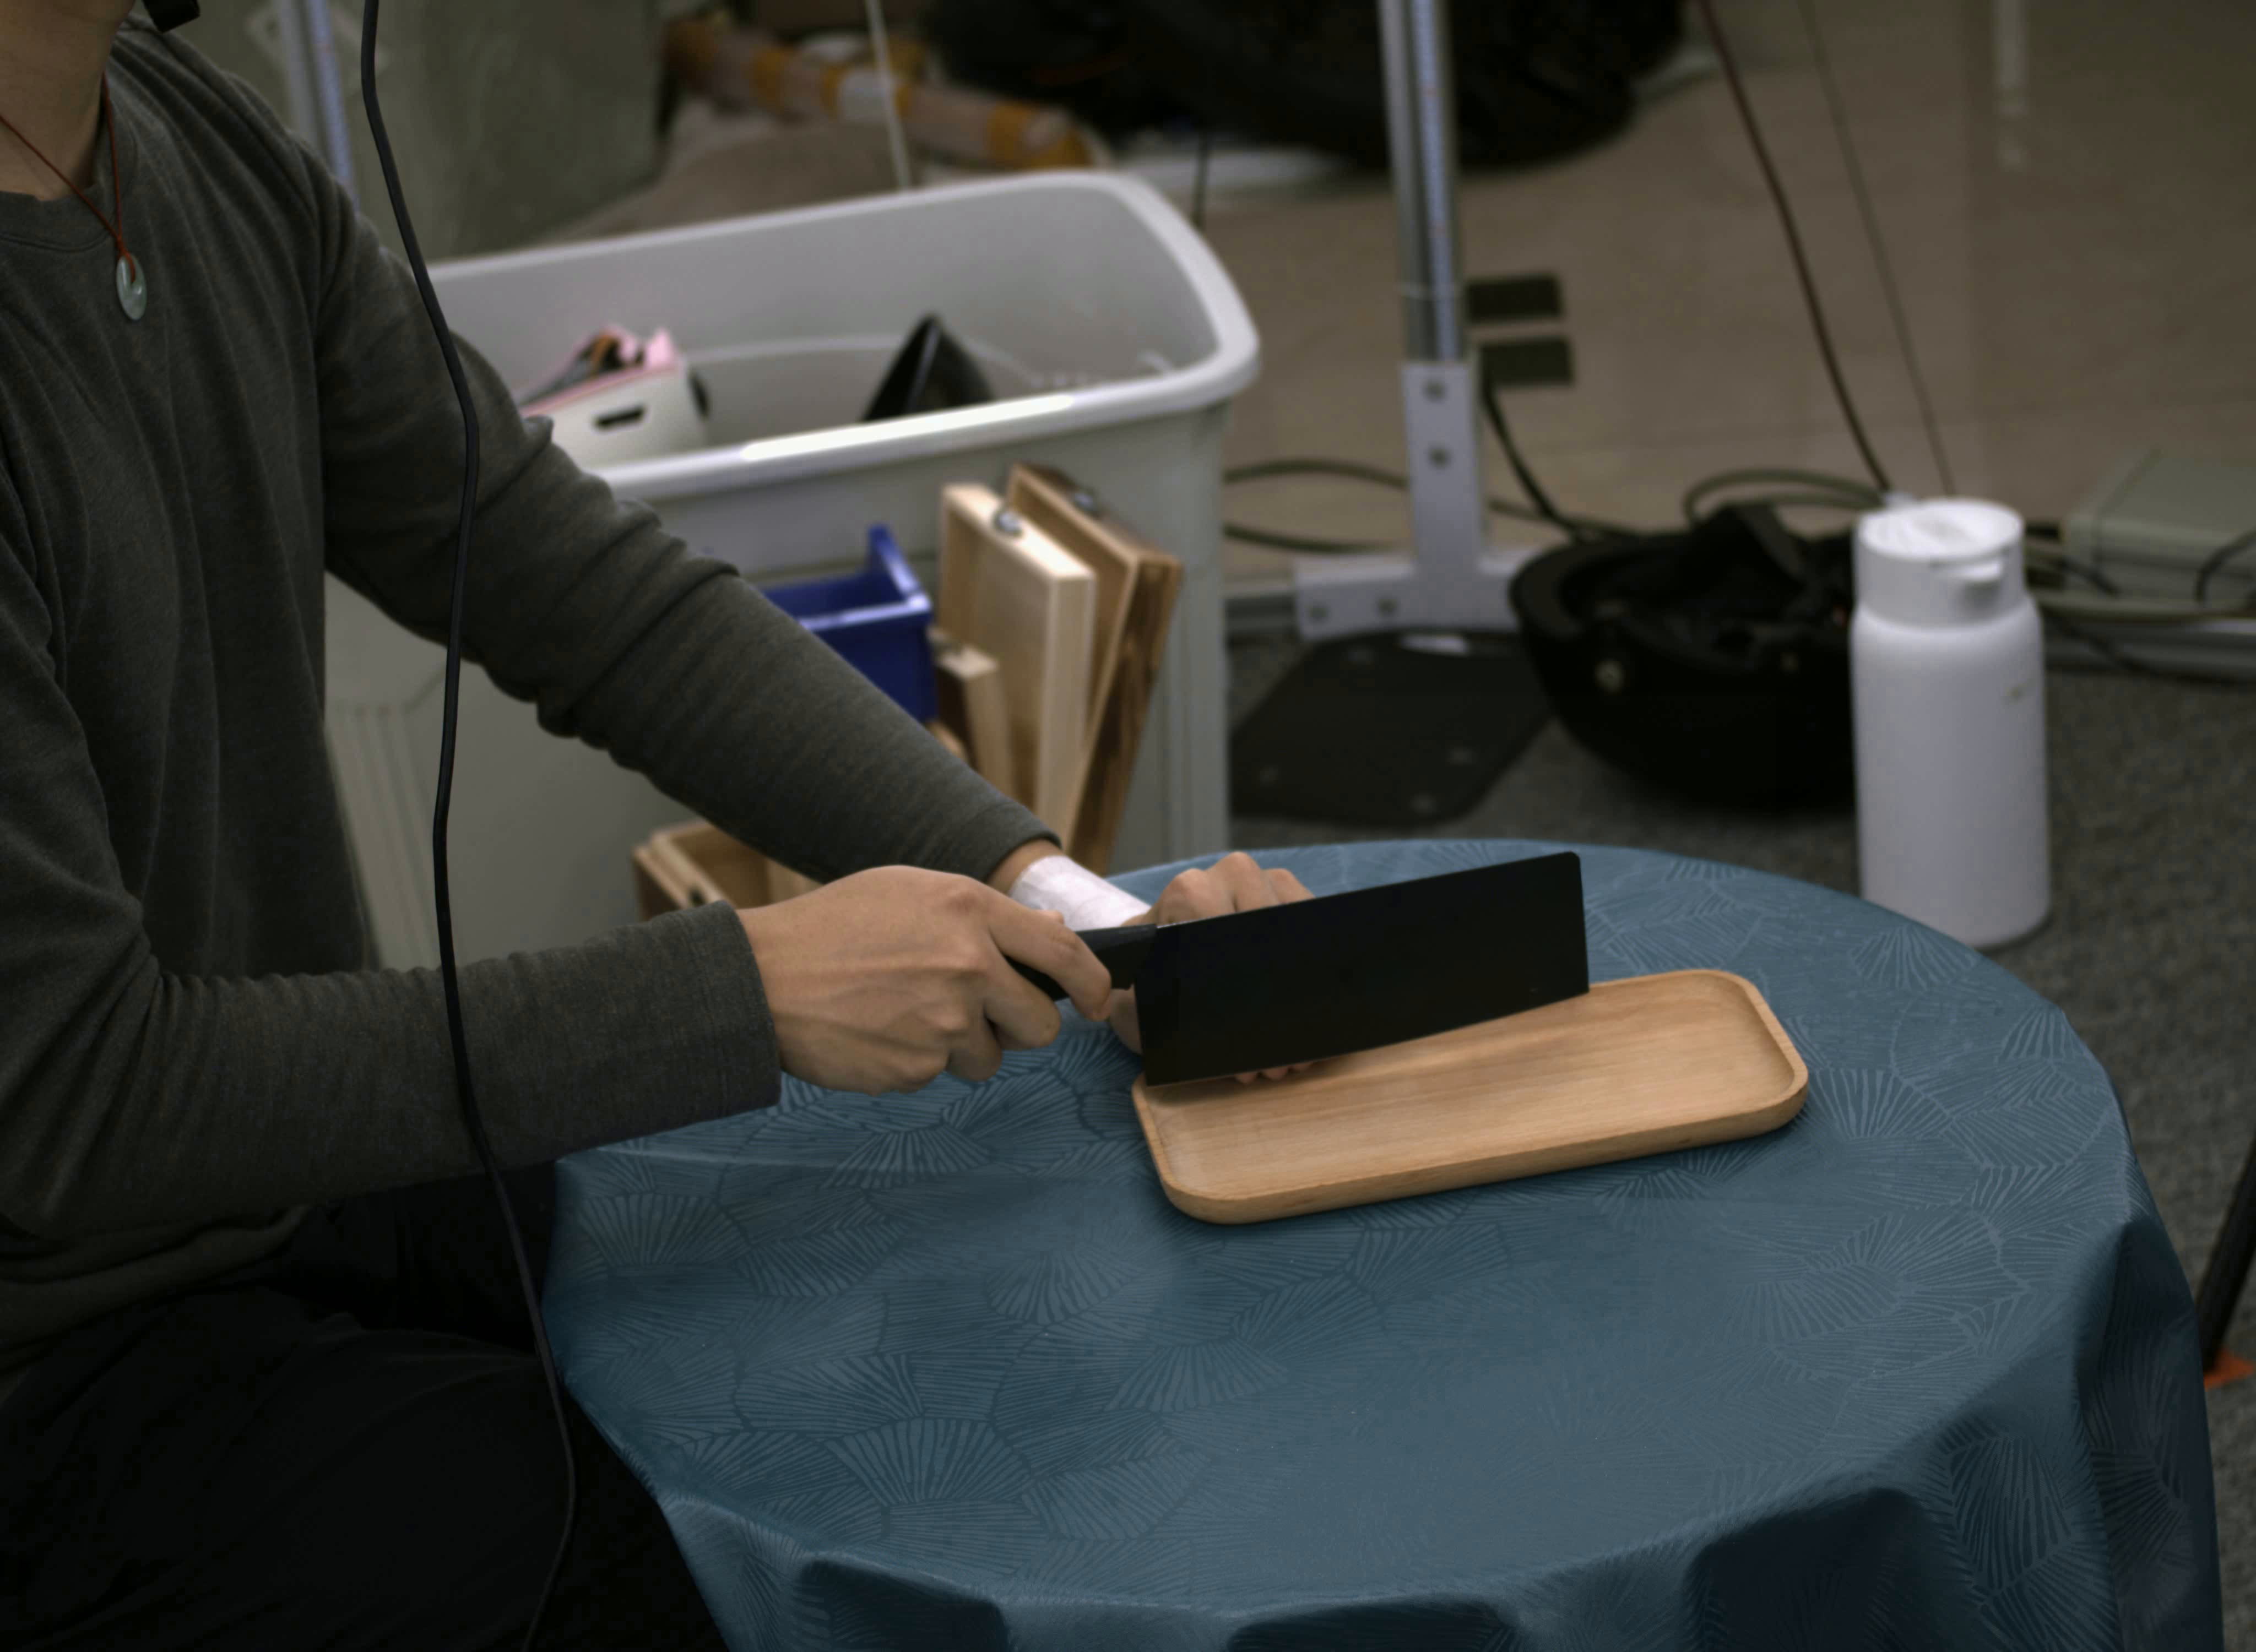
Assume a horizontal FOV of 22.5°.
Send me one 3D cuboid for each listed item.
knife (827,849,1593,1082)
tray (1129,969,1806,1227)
[{"bbox_3d":[0.033,0.061,2.171,0.301,0.082,0.020,-6,20,-11],"label":"knife"},{"bbox_3d":[0.129,0.104,2.177,0.250,0.023,0.129,-10,22,-4],"label":"tray"}]
